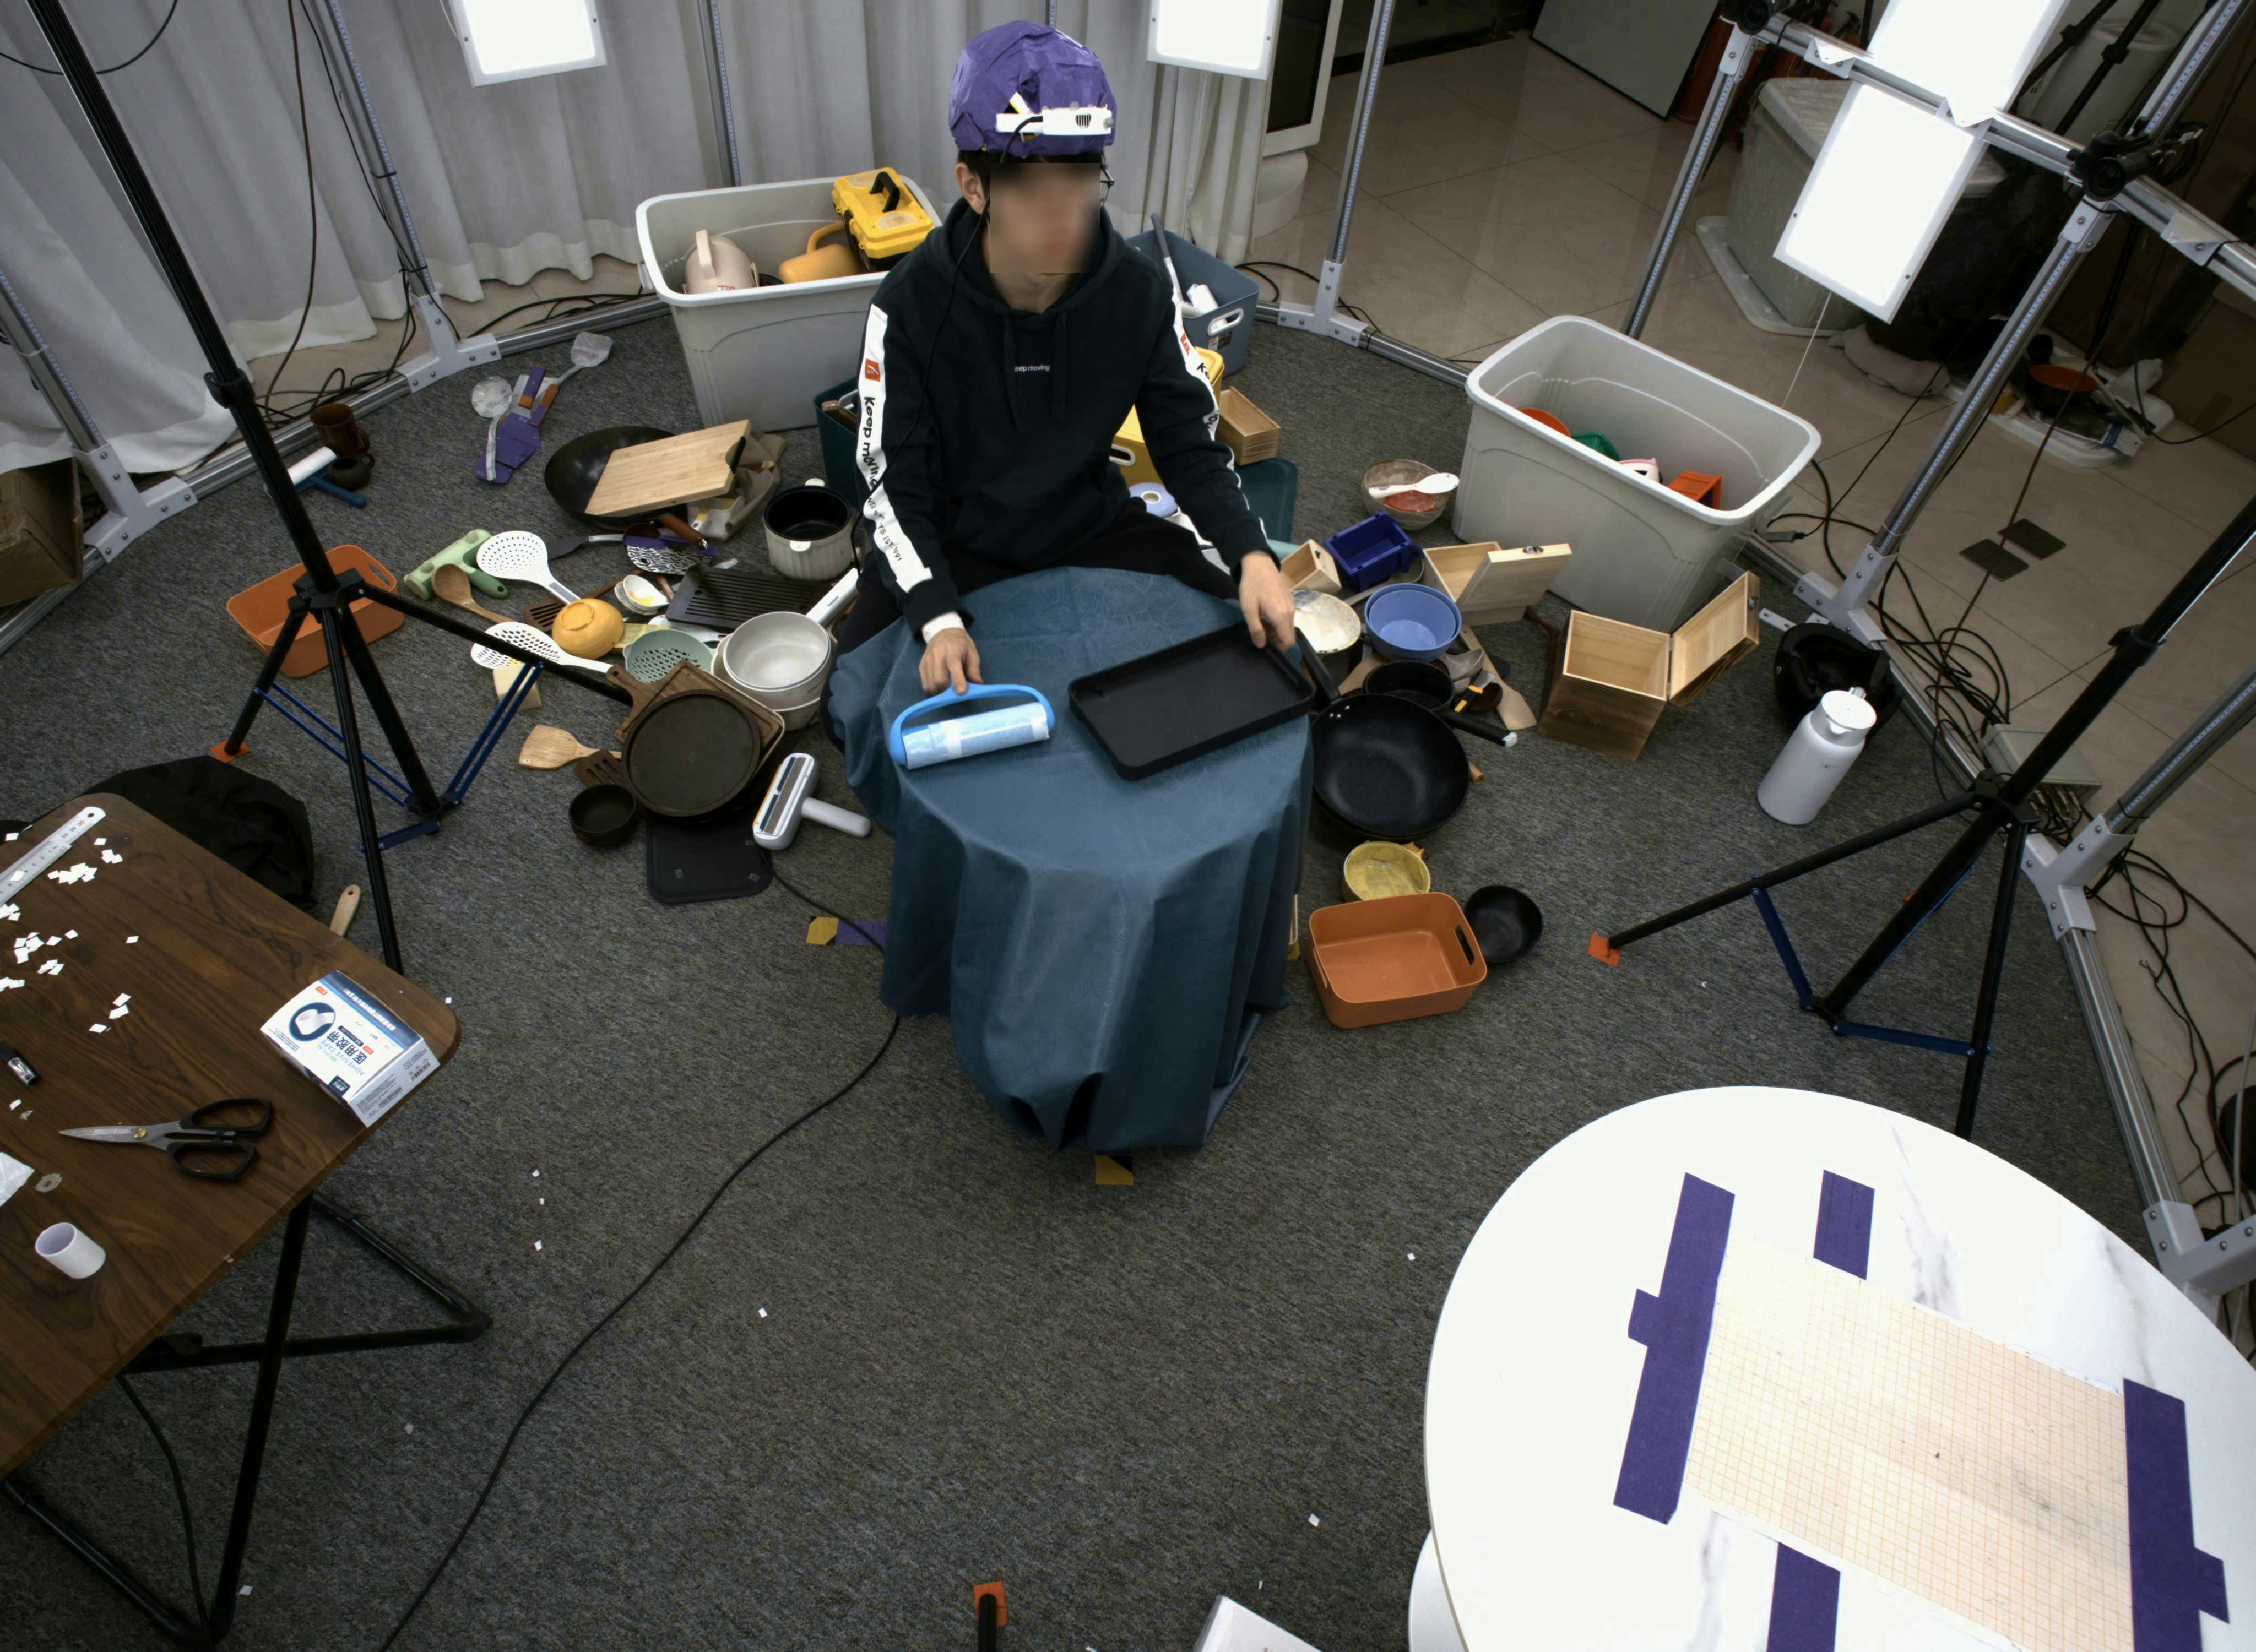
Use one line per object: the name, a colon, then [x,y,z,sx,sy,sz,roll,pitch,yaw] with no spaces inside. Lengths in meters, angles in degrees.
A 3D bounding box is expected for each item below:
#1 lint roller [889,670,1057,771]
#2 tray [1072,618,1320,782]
lint roller: [-0.228,-0.167,1.761,0.229,0.066,0.184,-17,53,-15]
tray: [0.096,-0.183,1.810,0.319,0.036,0.188,-23,54,-20]
